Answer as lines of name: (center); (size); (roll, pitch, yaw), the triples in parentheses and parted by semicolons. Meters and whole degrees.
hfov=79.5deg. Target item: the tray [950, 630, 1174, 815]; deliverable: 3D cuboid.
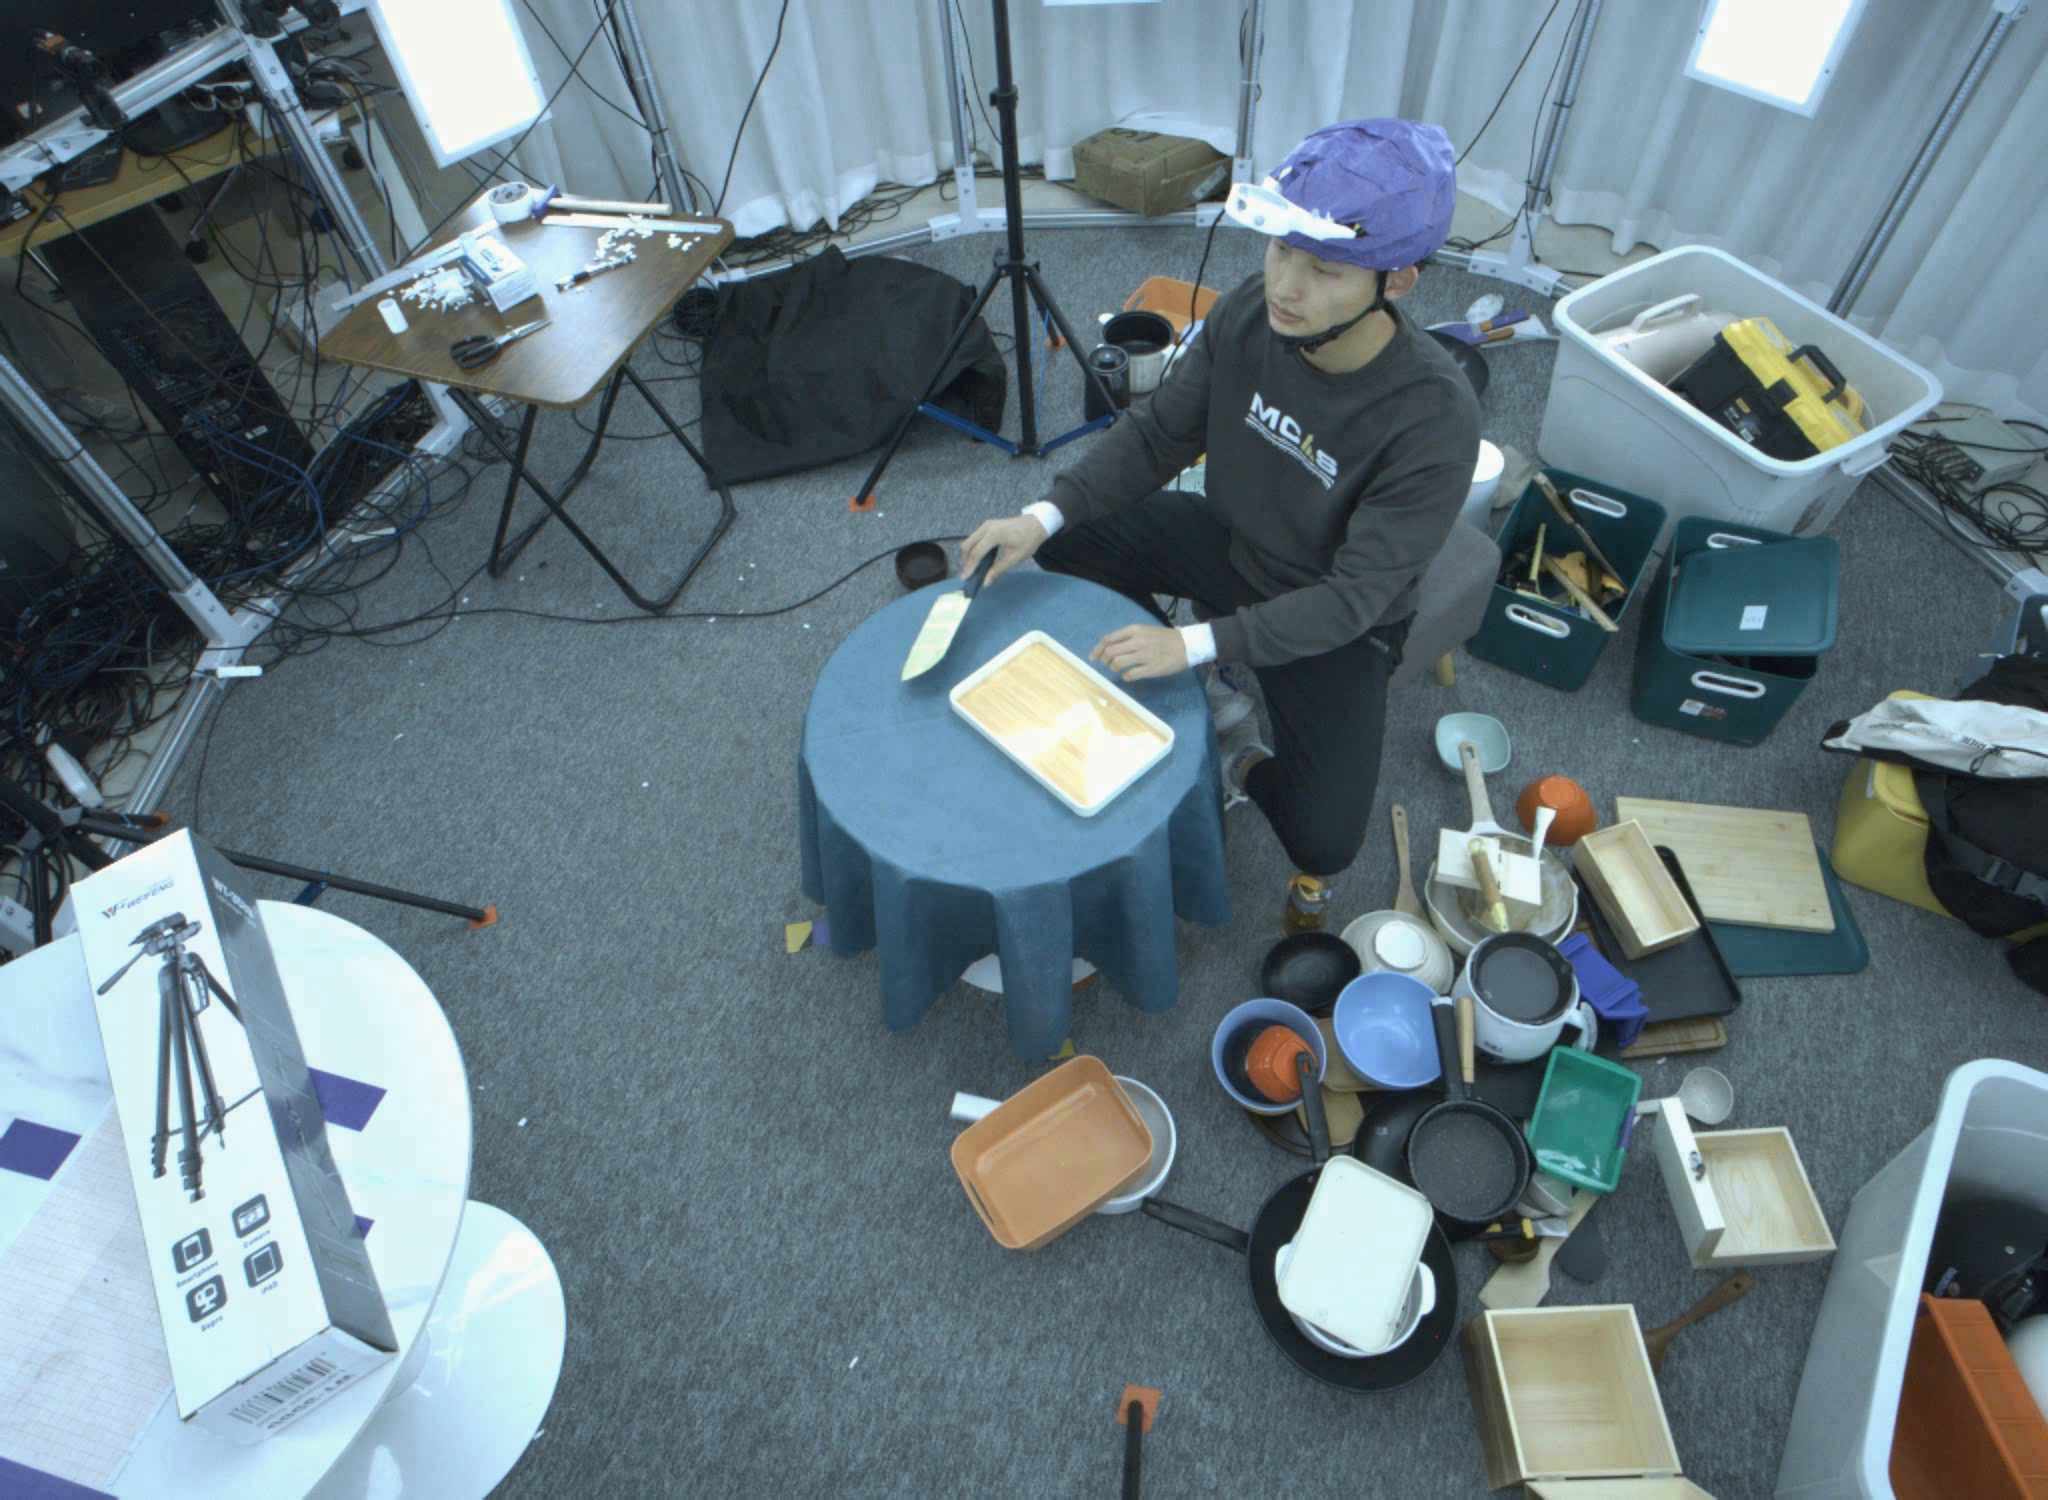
tray: (0.053, -0.046, 1.811); (0.193, 0.027, 0.295); (-38, 62, -24)

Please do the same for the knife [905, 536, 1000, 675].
knife: (-0.110, -0.225, 1.893); (0.079, 0.028, 0.289); (5, 55, 36)
